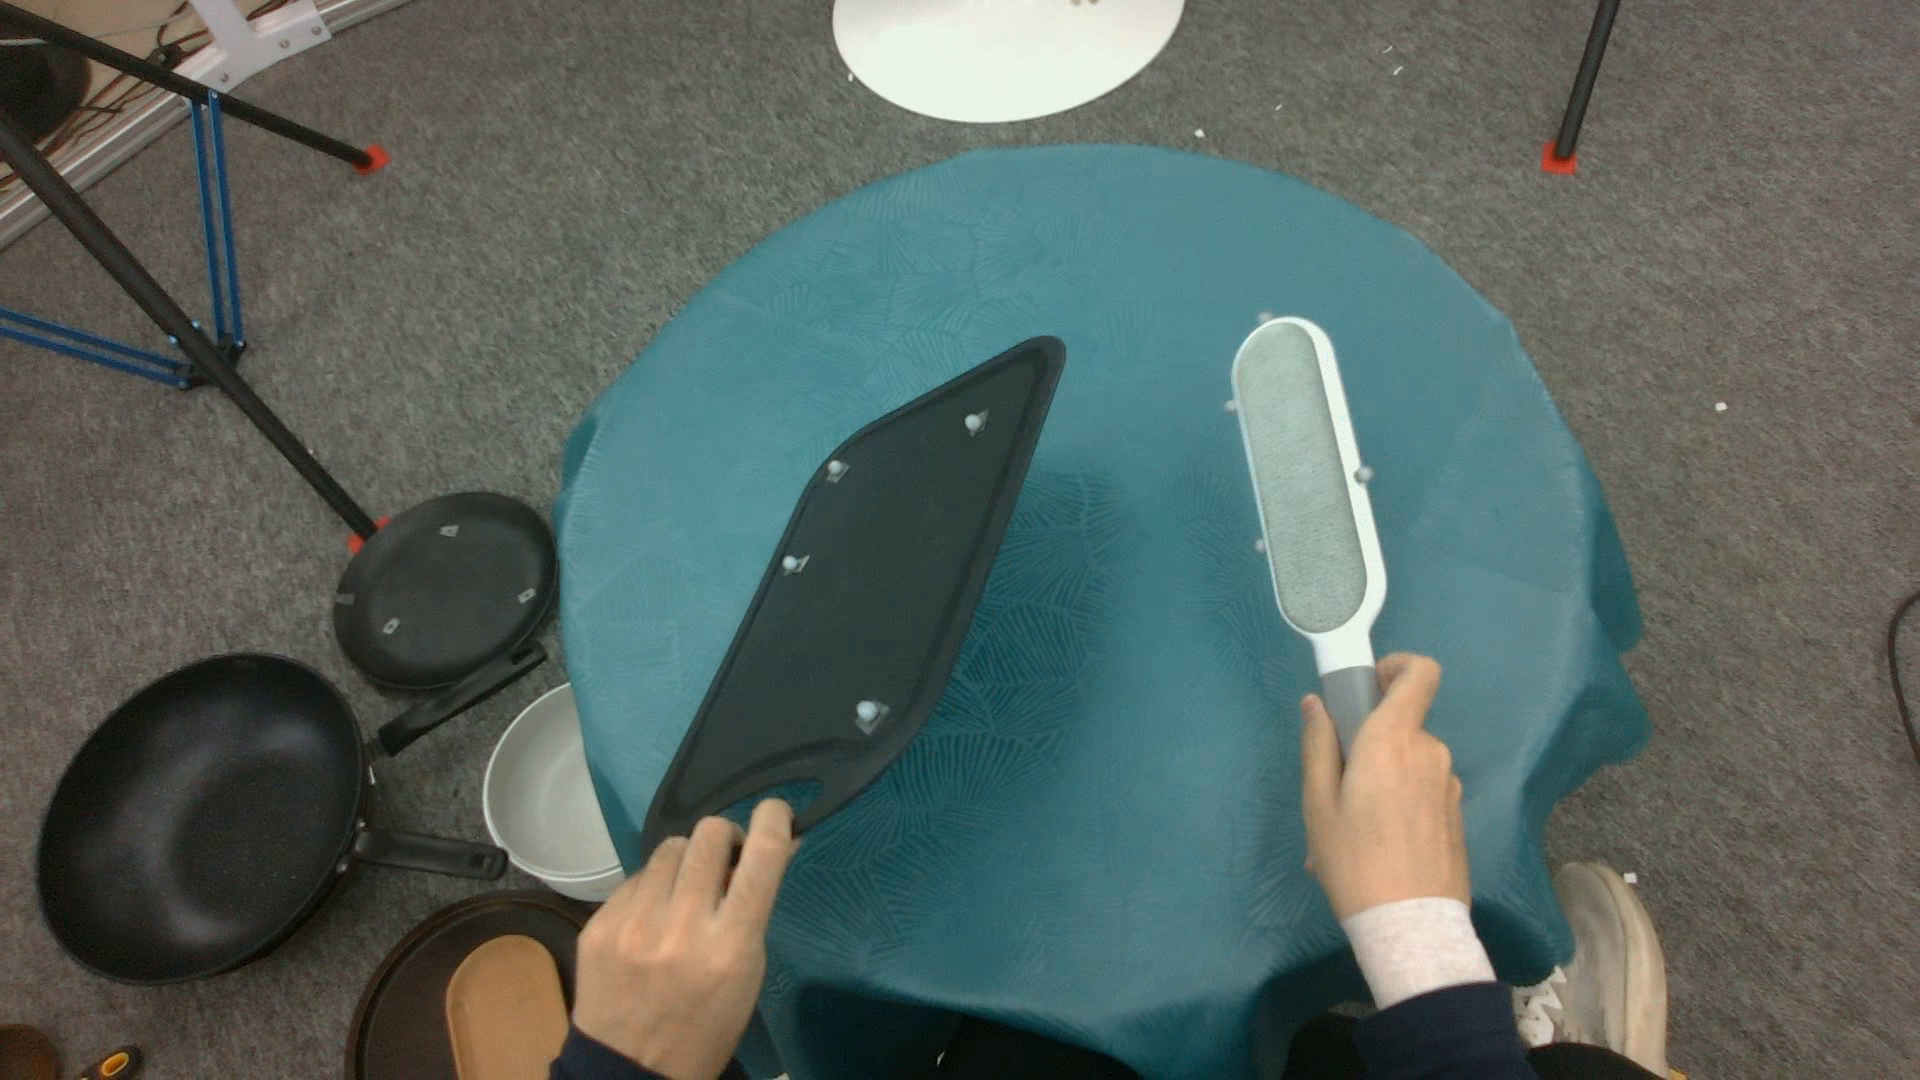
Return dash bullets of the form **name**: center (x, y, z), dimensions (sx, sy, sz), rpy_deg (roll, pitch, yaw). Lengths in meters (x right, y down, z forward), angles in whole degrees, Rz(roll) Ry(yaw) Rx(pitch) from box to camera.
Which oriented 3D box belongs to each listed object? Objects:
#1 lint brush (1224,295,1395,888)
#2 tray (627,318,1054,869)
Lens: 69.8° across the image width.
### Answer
- **lint brush**: center (0.176, 0.015, 0.686), dimensions (0.060, 0.021, 0.310), rpy_deg (-20, 64, 34)
- **tray**: center (-0.059, 0.018, 0.685), dimensions (0.210, 0.010, 0.327), rpy_deg (-23, 33, 39)
